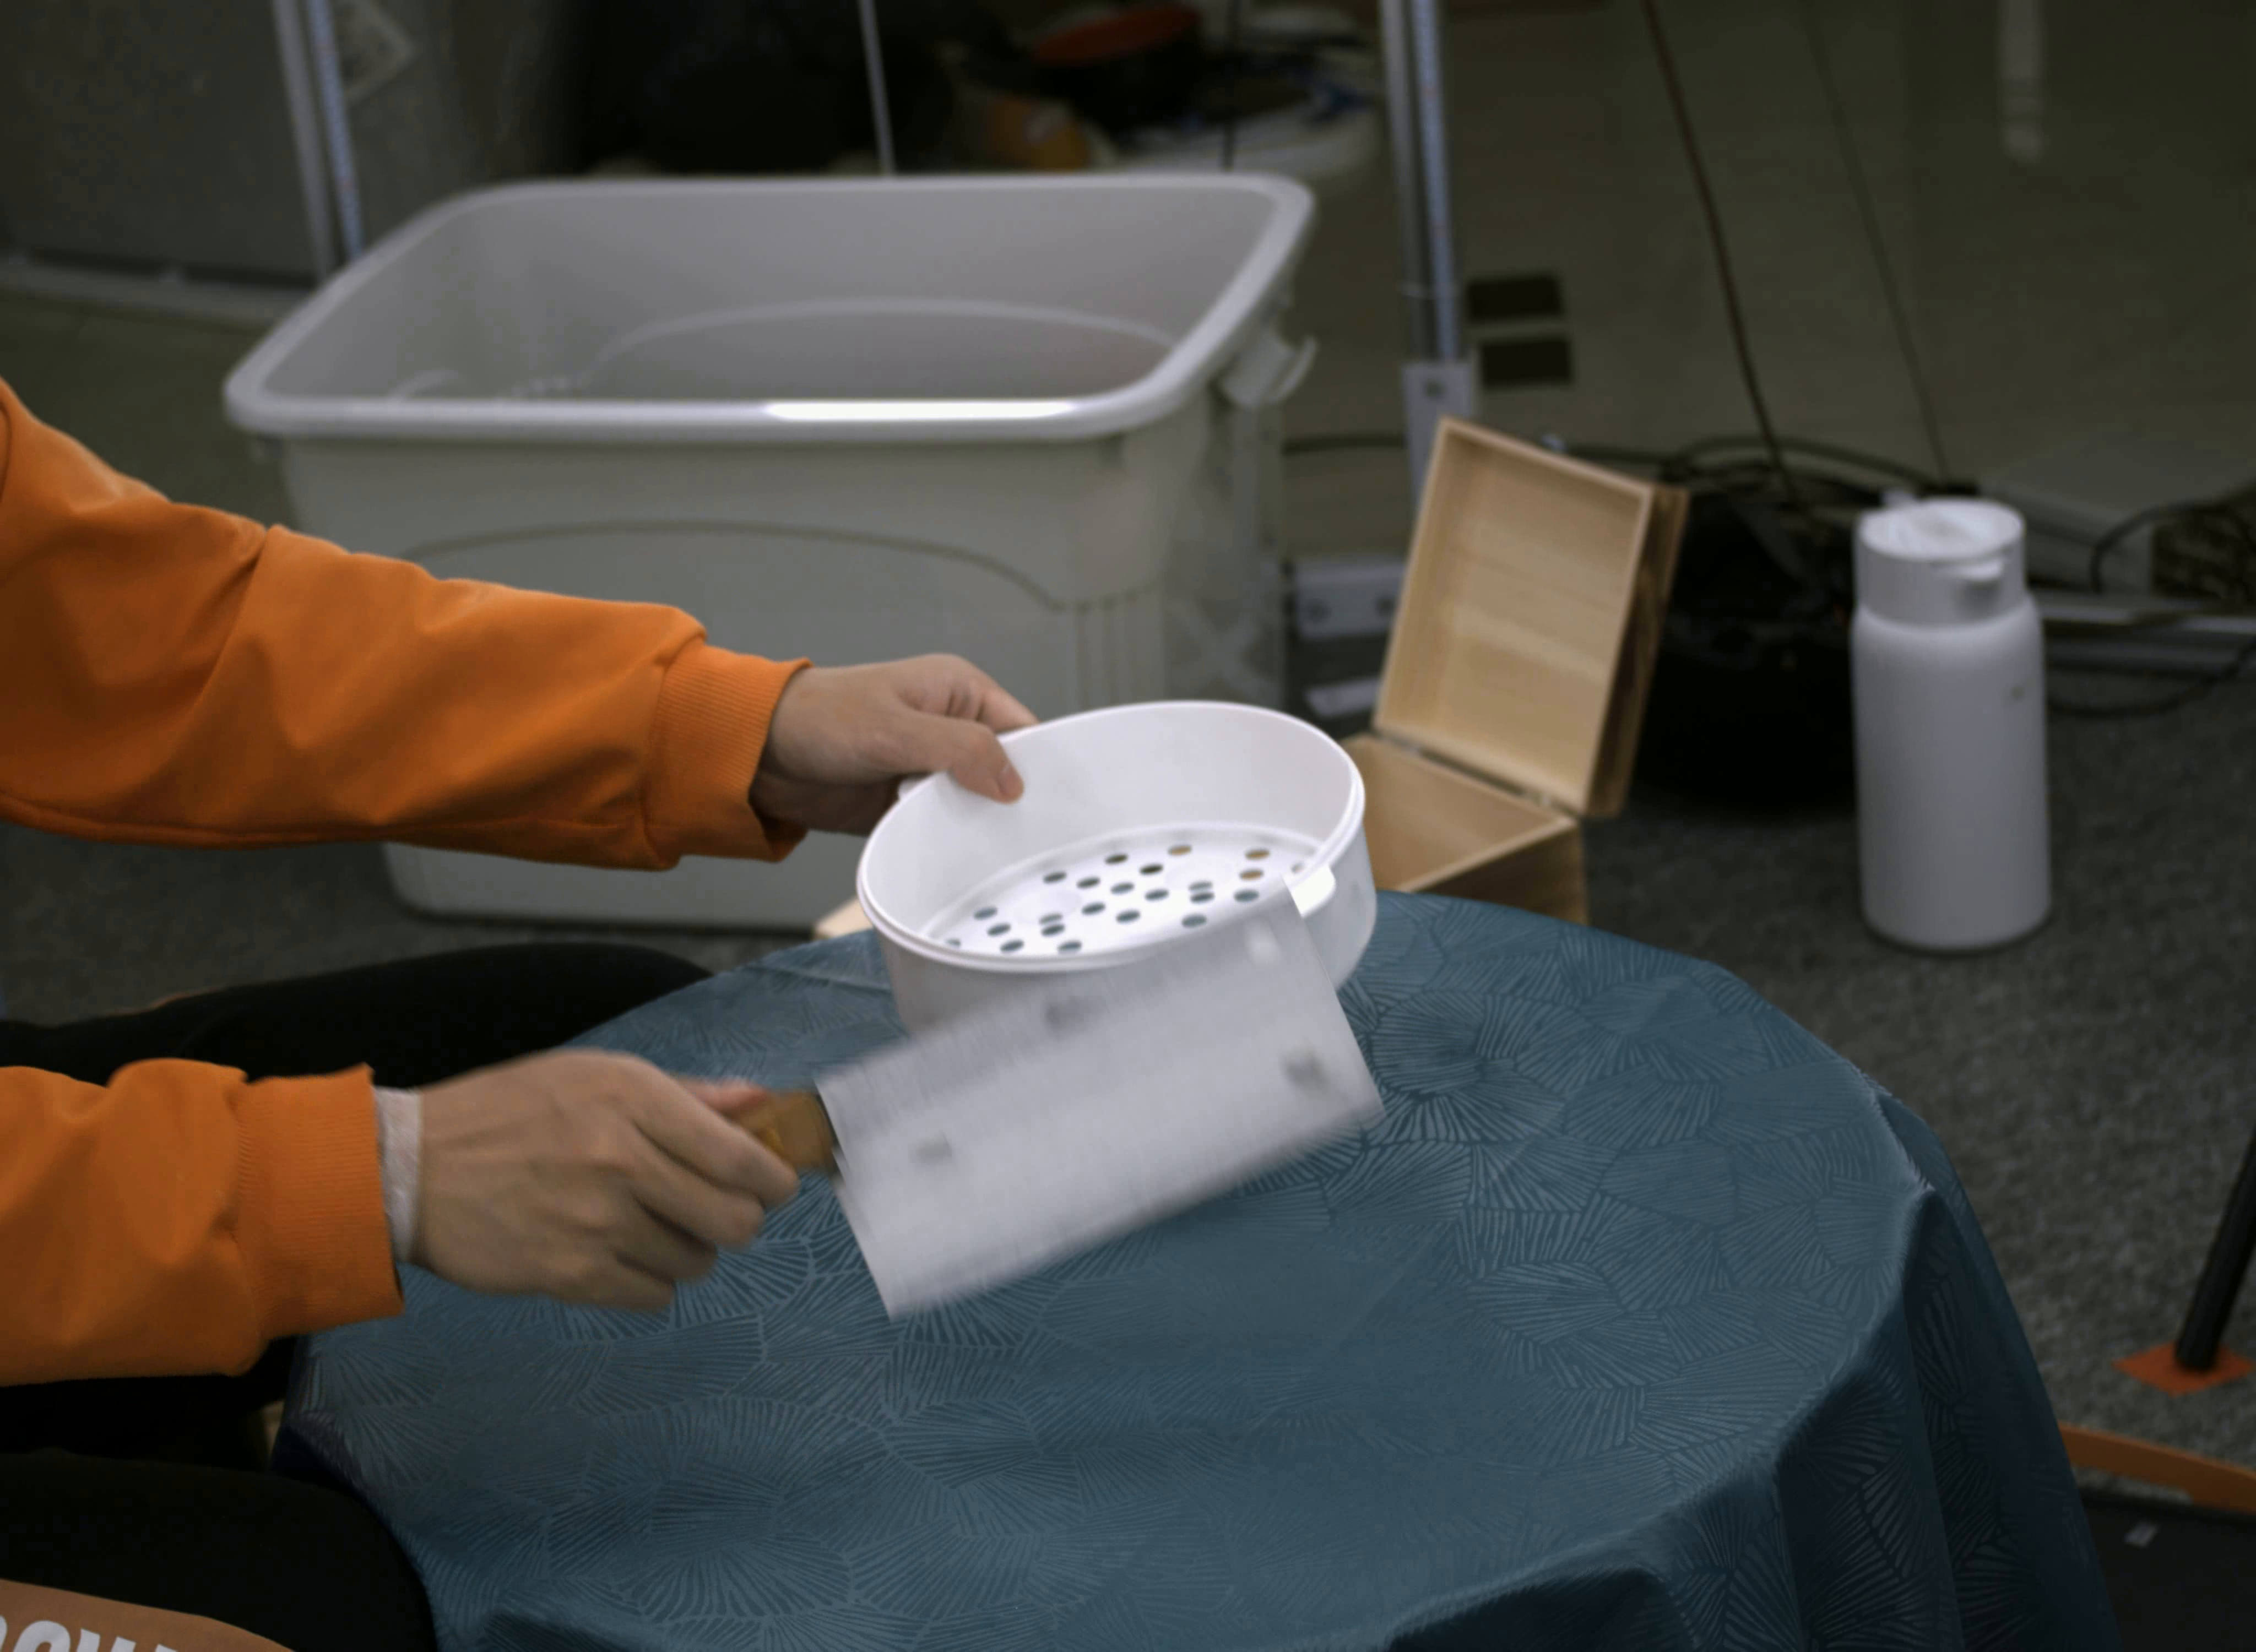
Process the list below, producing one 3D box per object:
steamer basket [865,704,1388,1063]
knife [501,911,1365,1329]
[{"bbox_3d":[0.002,0.030,2.196,0.200,0.070,0.228,-28,35,-26],"label":"steamer basket"},{"bbox_3d":[-0.066,0.123,1.980,0.306,0.094,0.021,-22,14,6],"label":"knife"}]
